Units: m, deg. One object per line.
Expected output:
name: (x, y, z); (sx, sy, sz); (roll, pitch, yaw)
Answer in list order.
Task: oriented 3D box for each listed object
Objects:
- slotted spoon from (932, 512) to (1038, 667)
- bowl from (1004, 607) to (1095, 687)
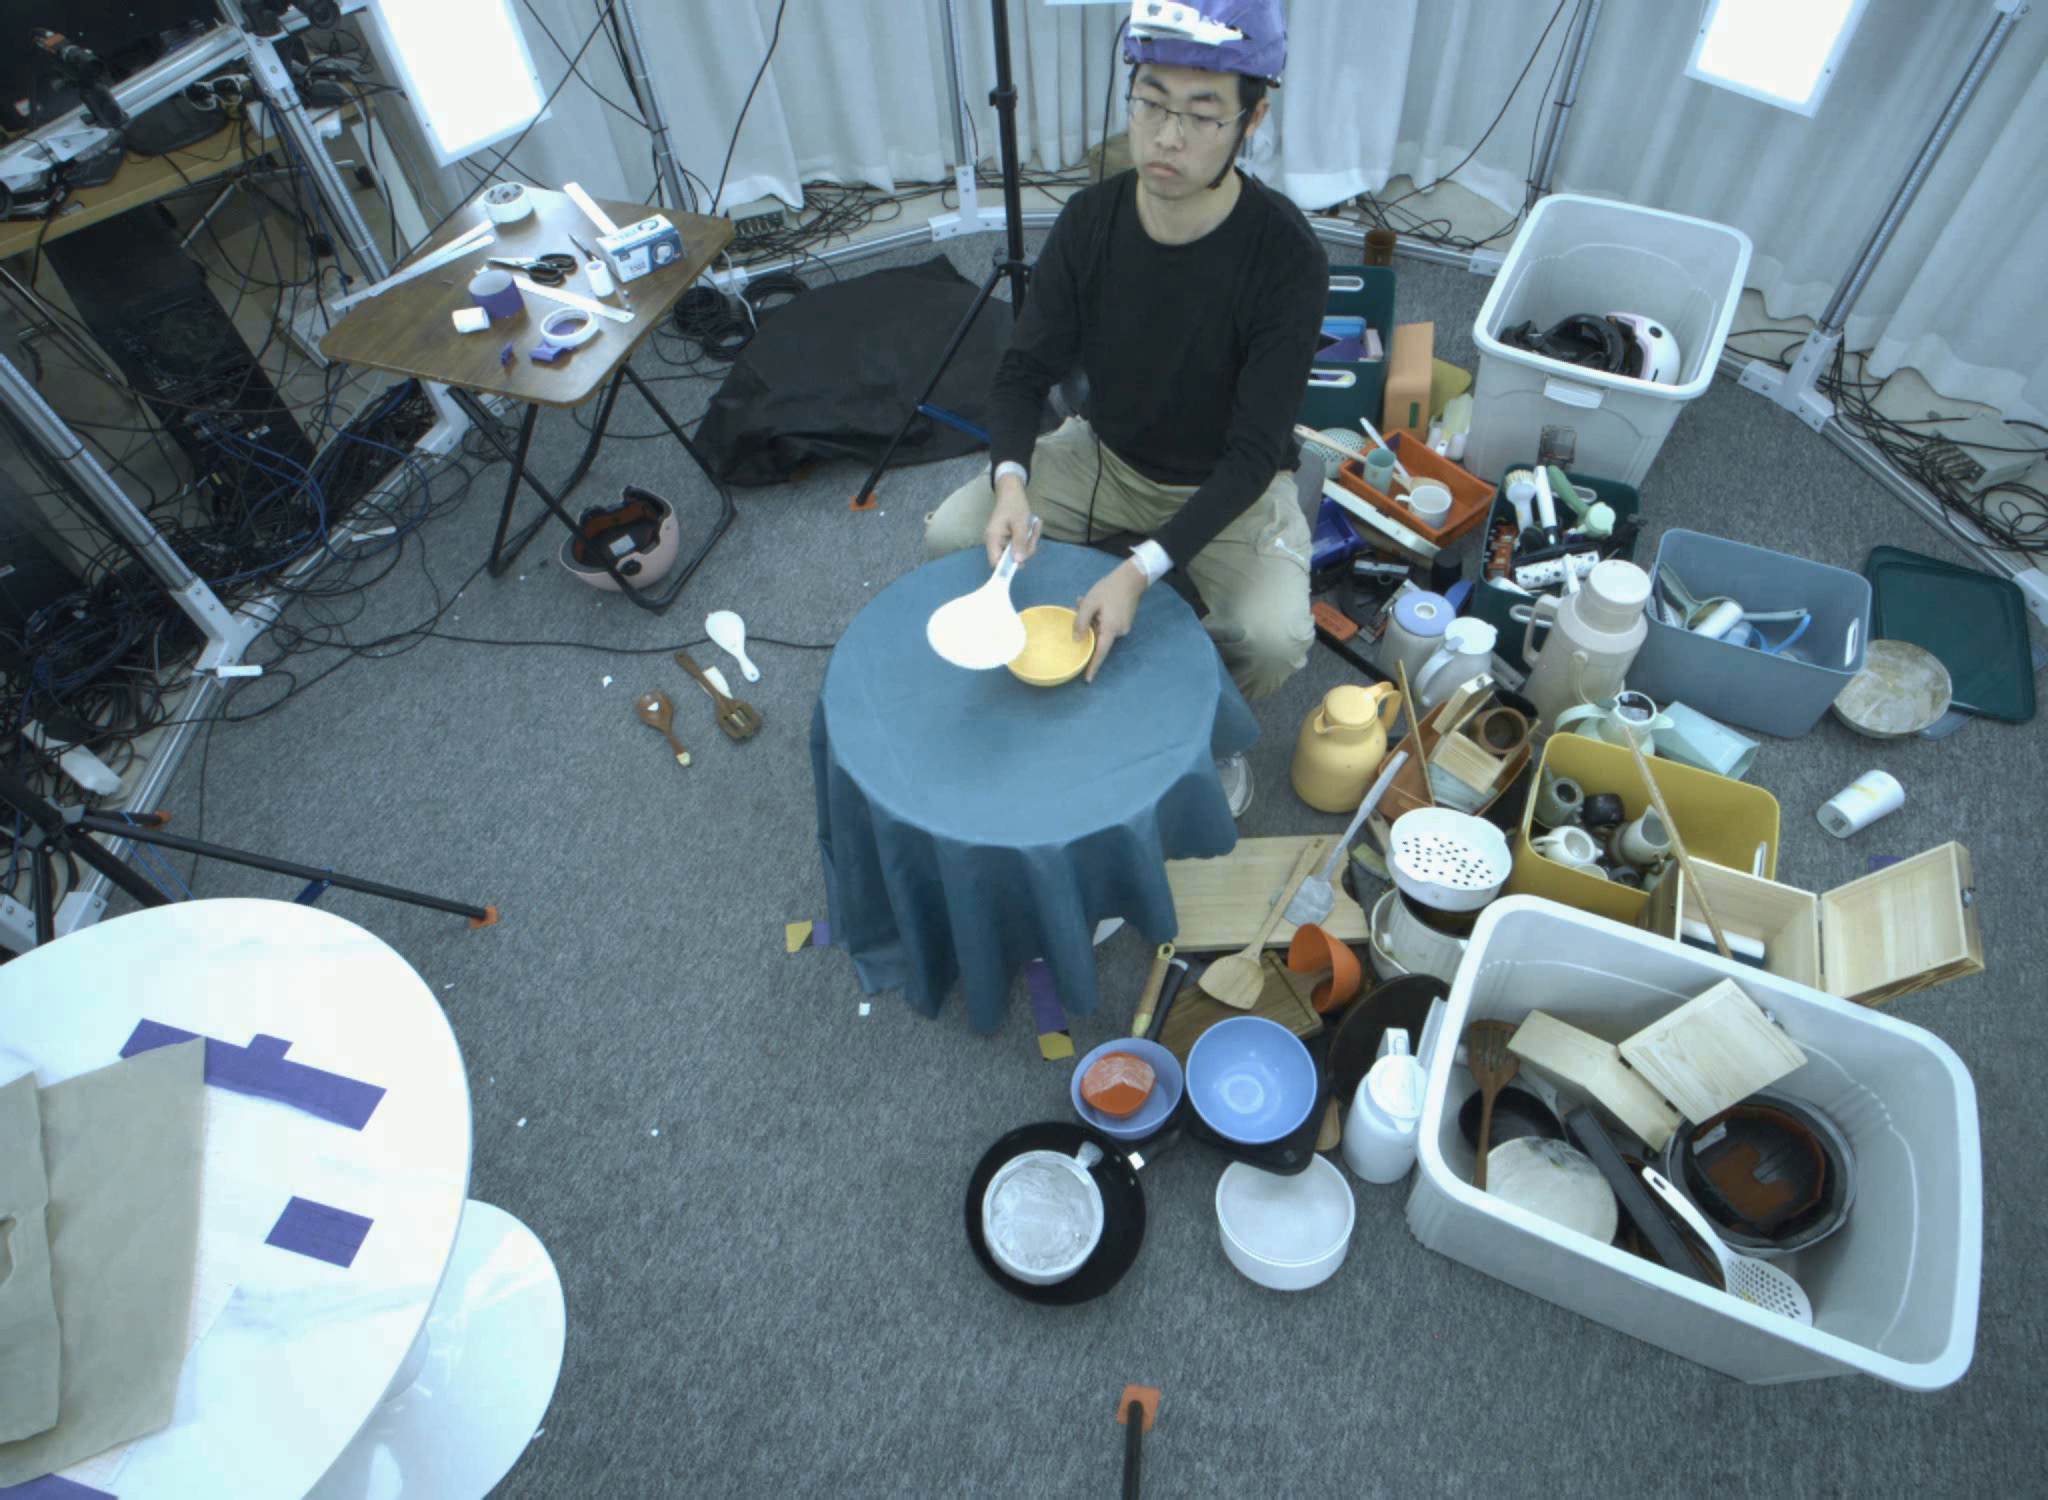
slotted spoon: (-0.036, -0.242, 1.808); (0.136, 0.046, 0.348); (18, 54, 1)
bowl: (0.034, -0.144, 1.858); (0.145, 0.060, 0.144); (1, 54, 0)
